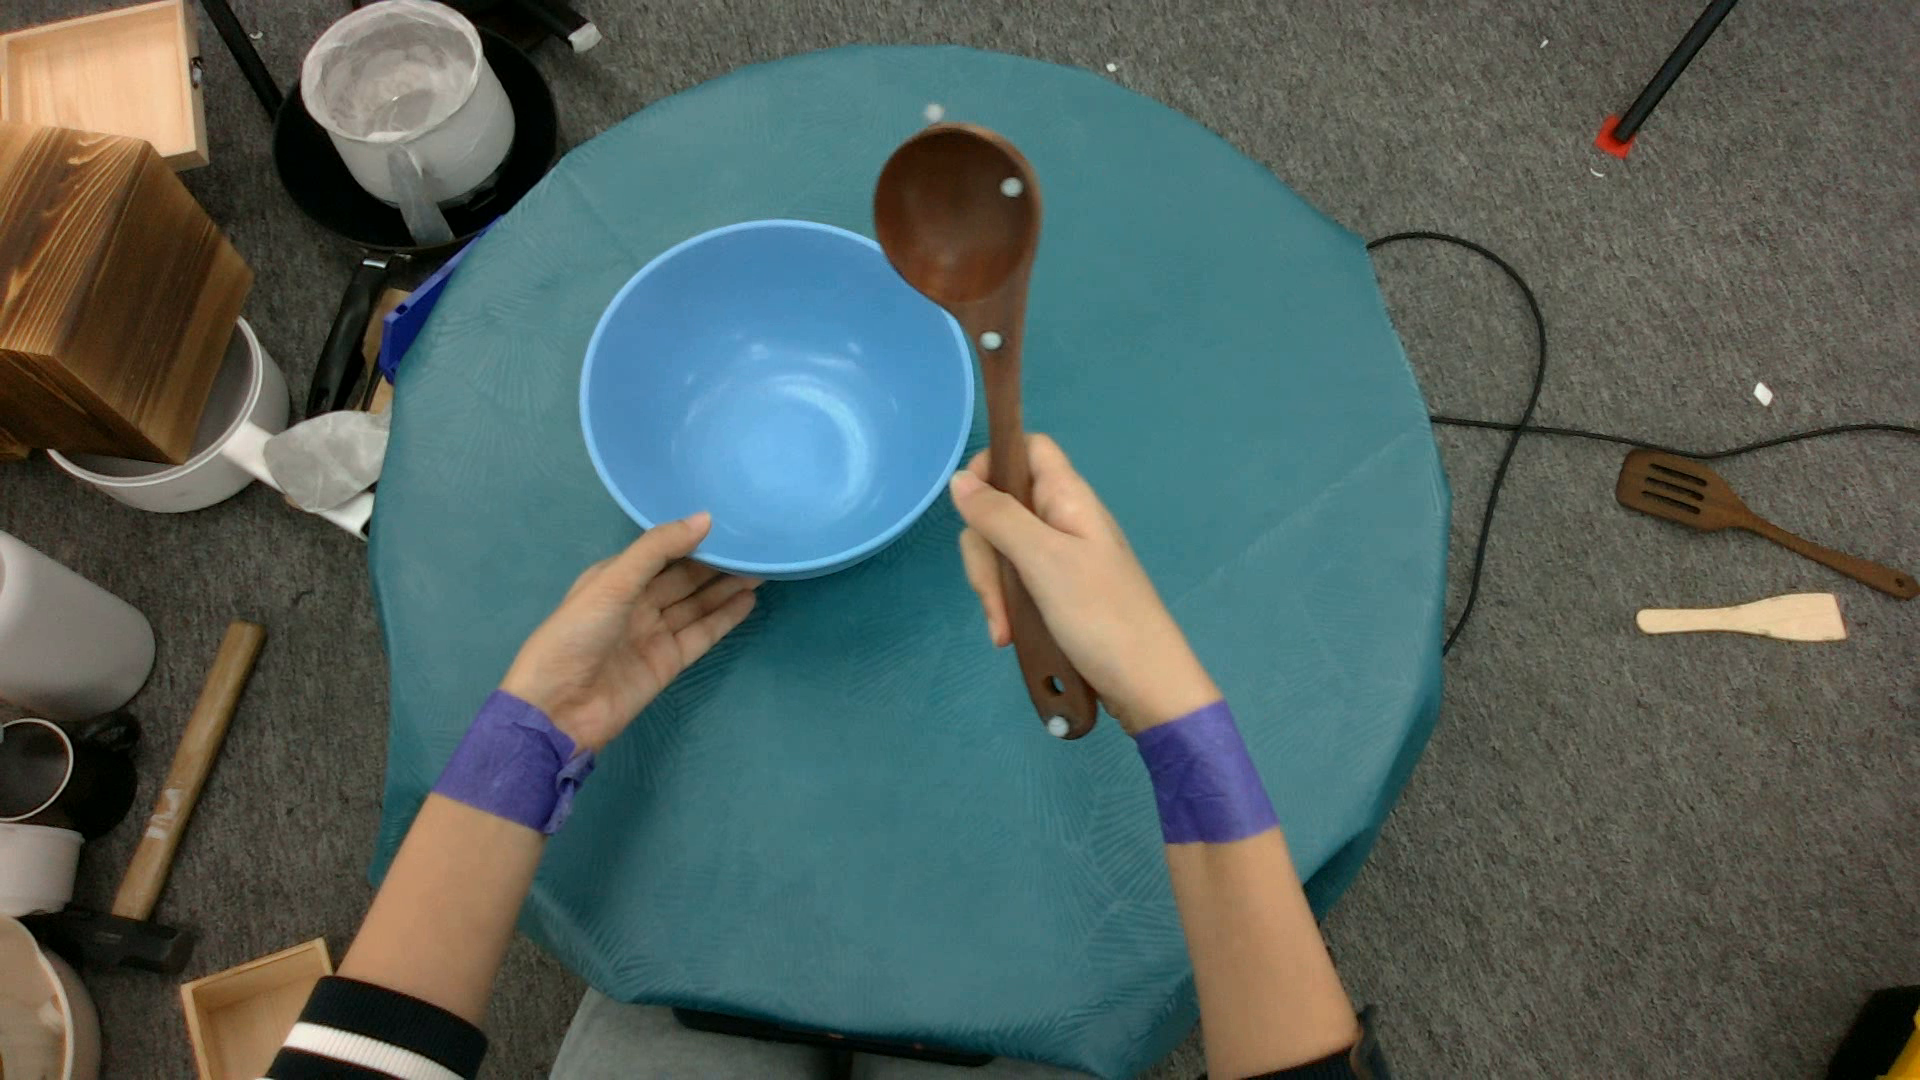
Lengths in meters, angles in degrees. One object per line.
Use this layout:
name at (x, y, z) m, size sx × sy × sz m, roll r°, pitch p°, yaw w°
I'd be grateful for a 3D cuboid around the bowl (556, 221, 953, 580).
bowl at (-0.107, -0.060, 0.727) m, size 0.196 × 0.095 × 0.197 m, roll 4°, pitch 66°, yaw -9°

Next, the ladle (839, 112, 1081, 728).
ladle at (0.002, -0.053, 0.557) m, size 0.076 × 0.065 × 0.261 m, roll -23°, pitch 68°, yaw 34°
